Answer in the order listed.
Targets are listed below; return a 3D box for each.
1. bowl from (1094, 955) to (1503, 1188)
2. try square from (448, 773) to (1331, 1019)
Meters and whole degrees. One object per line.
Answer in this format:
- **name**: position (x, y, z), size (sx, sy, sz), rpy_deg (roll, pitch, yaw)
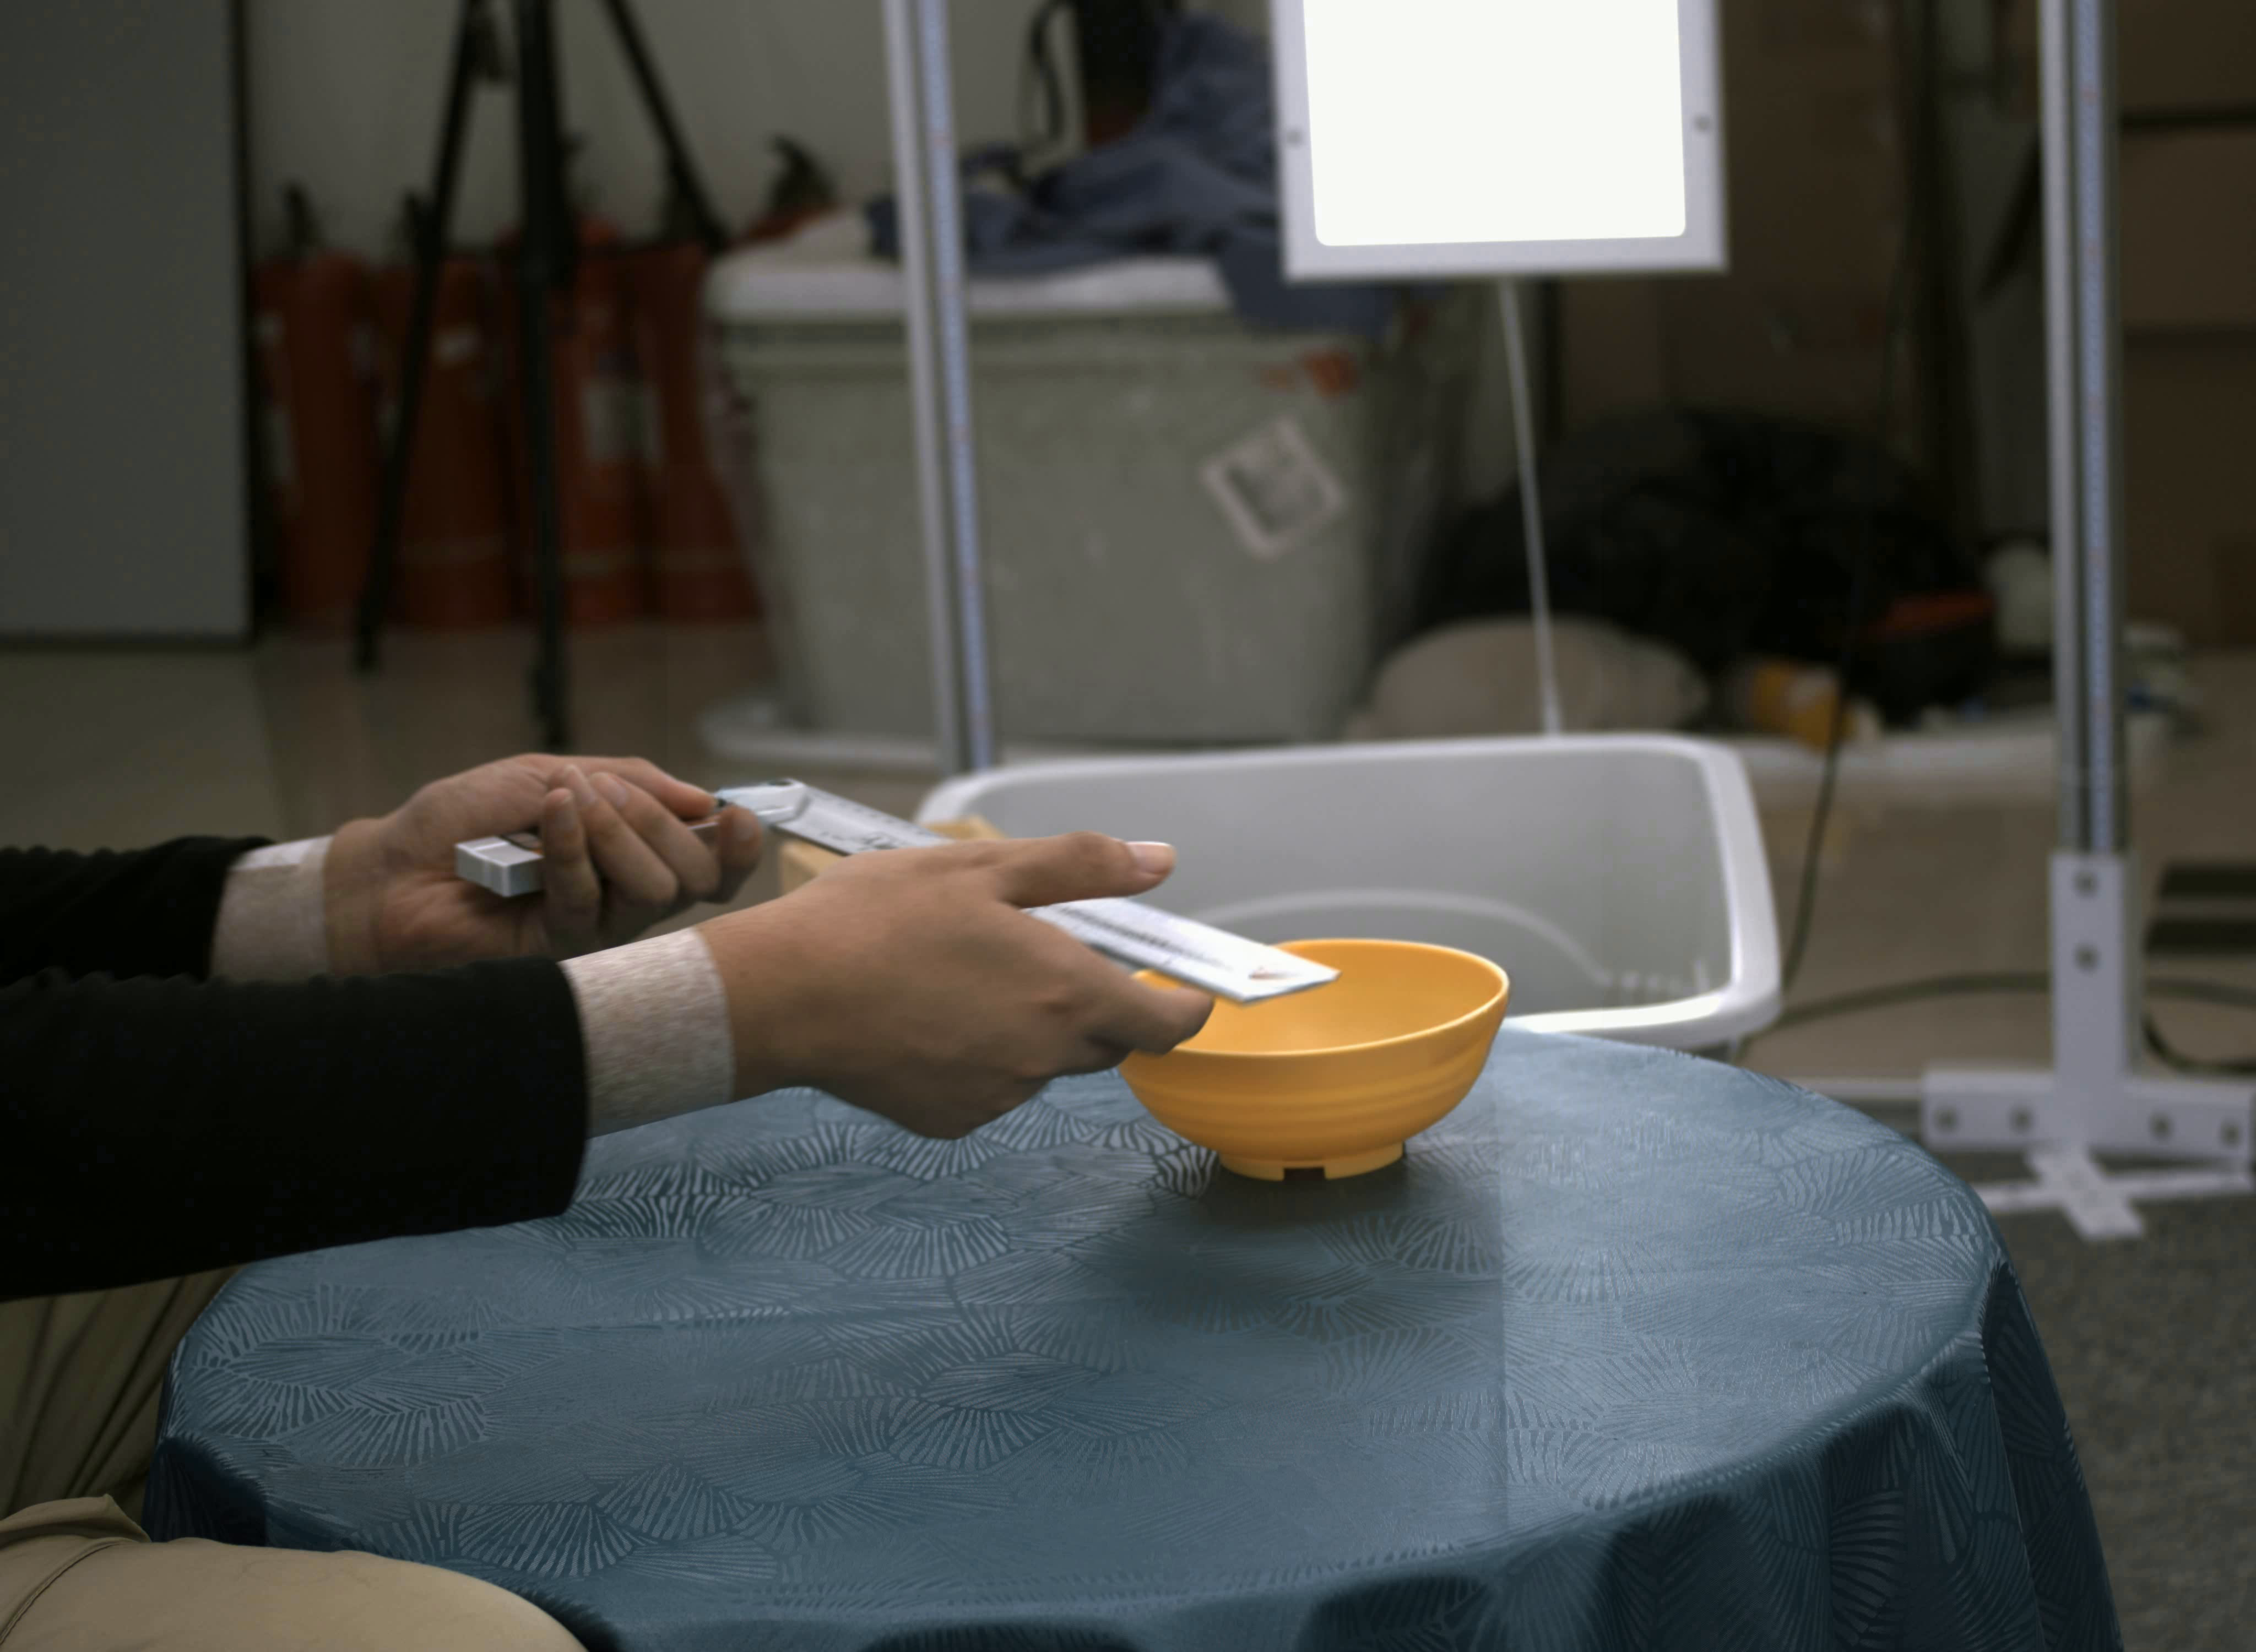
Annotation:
- **bowl**: position (0.062, 0.089, 1.914), size (0.145, 0.060, 0.145), rpy_deg (-6, 11, 0)
- **try square**: position (-0.087, 0.034, 1.854), size (0.148, 0.016, 0.319), rpy_deg (-16, 22, -32)
